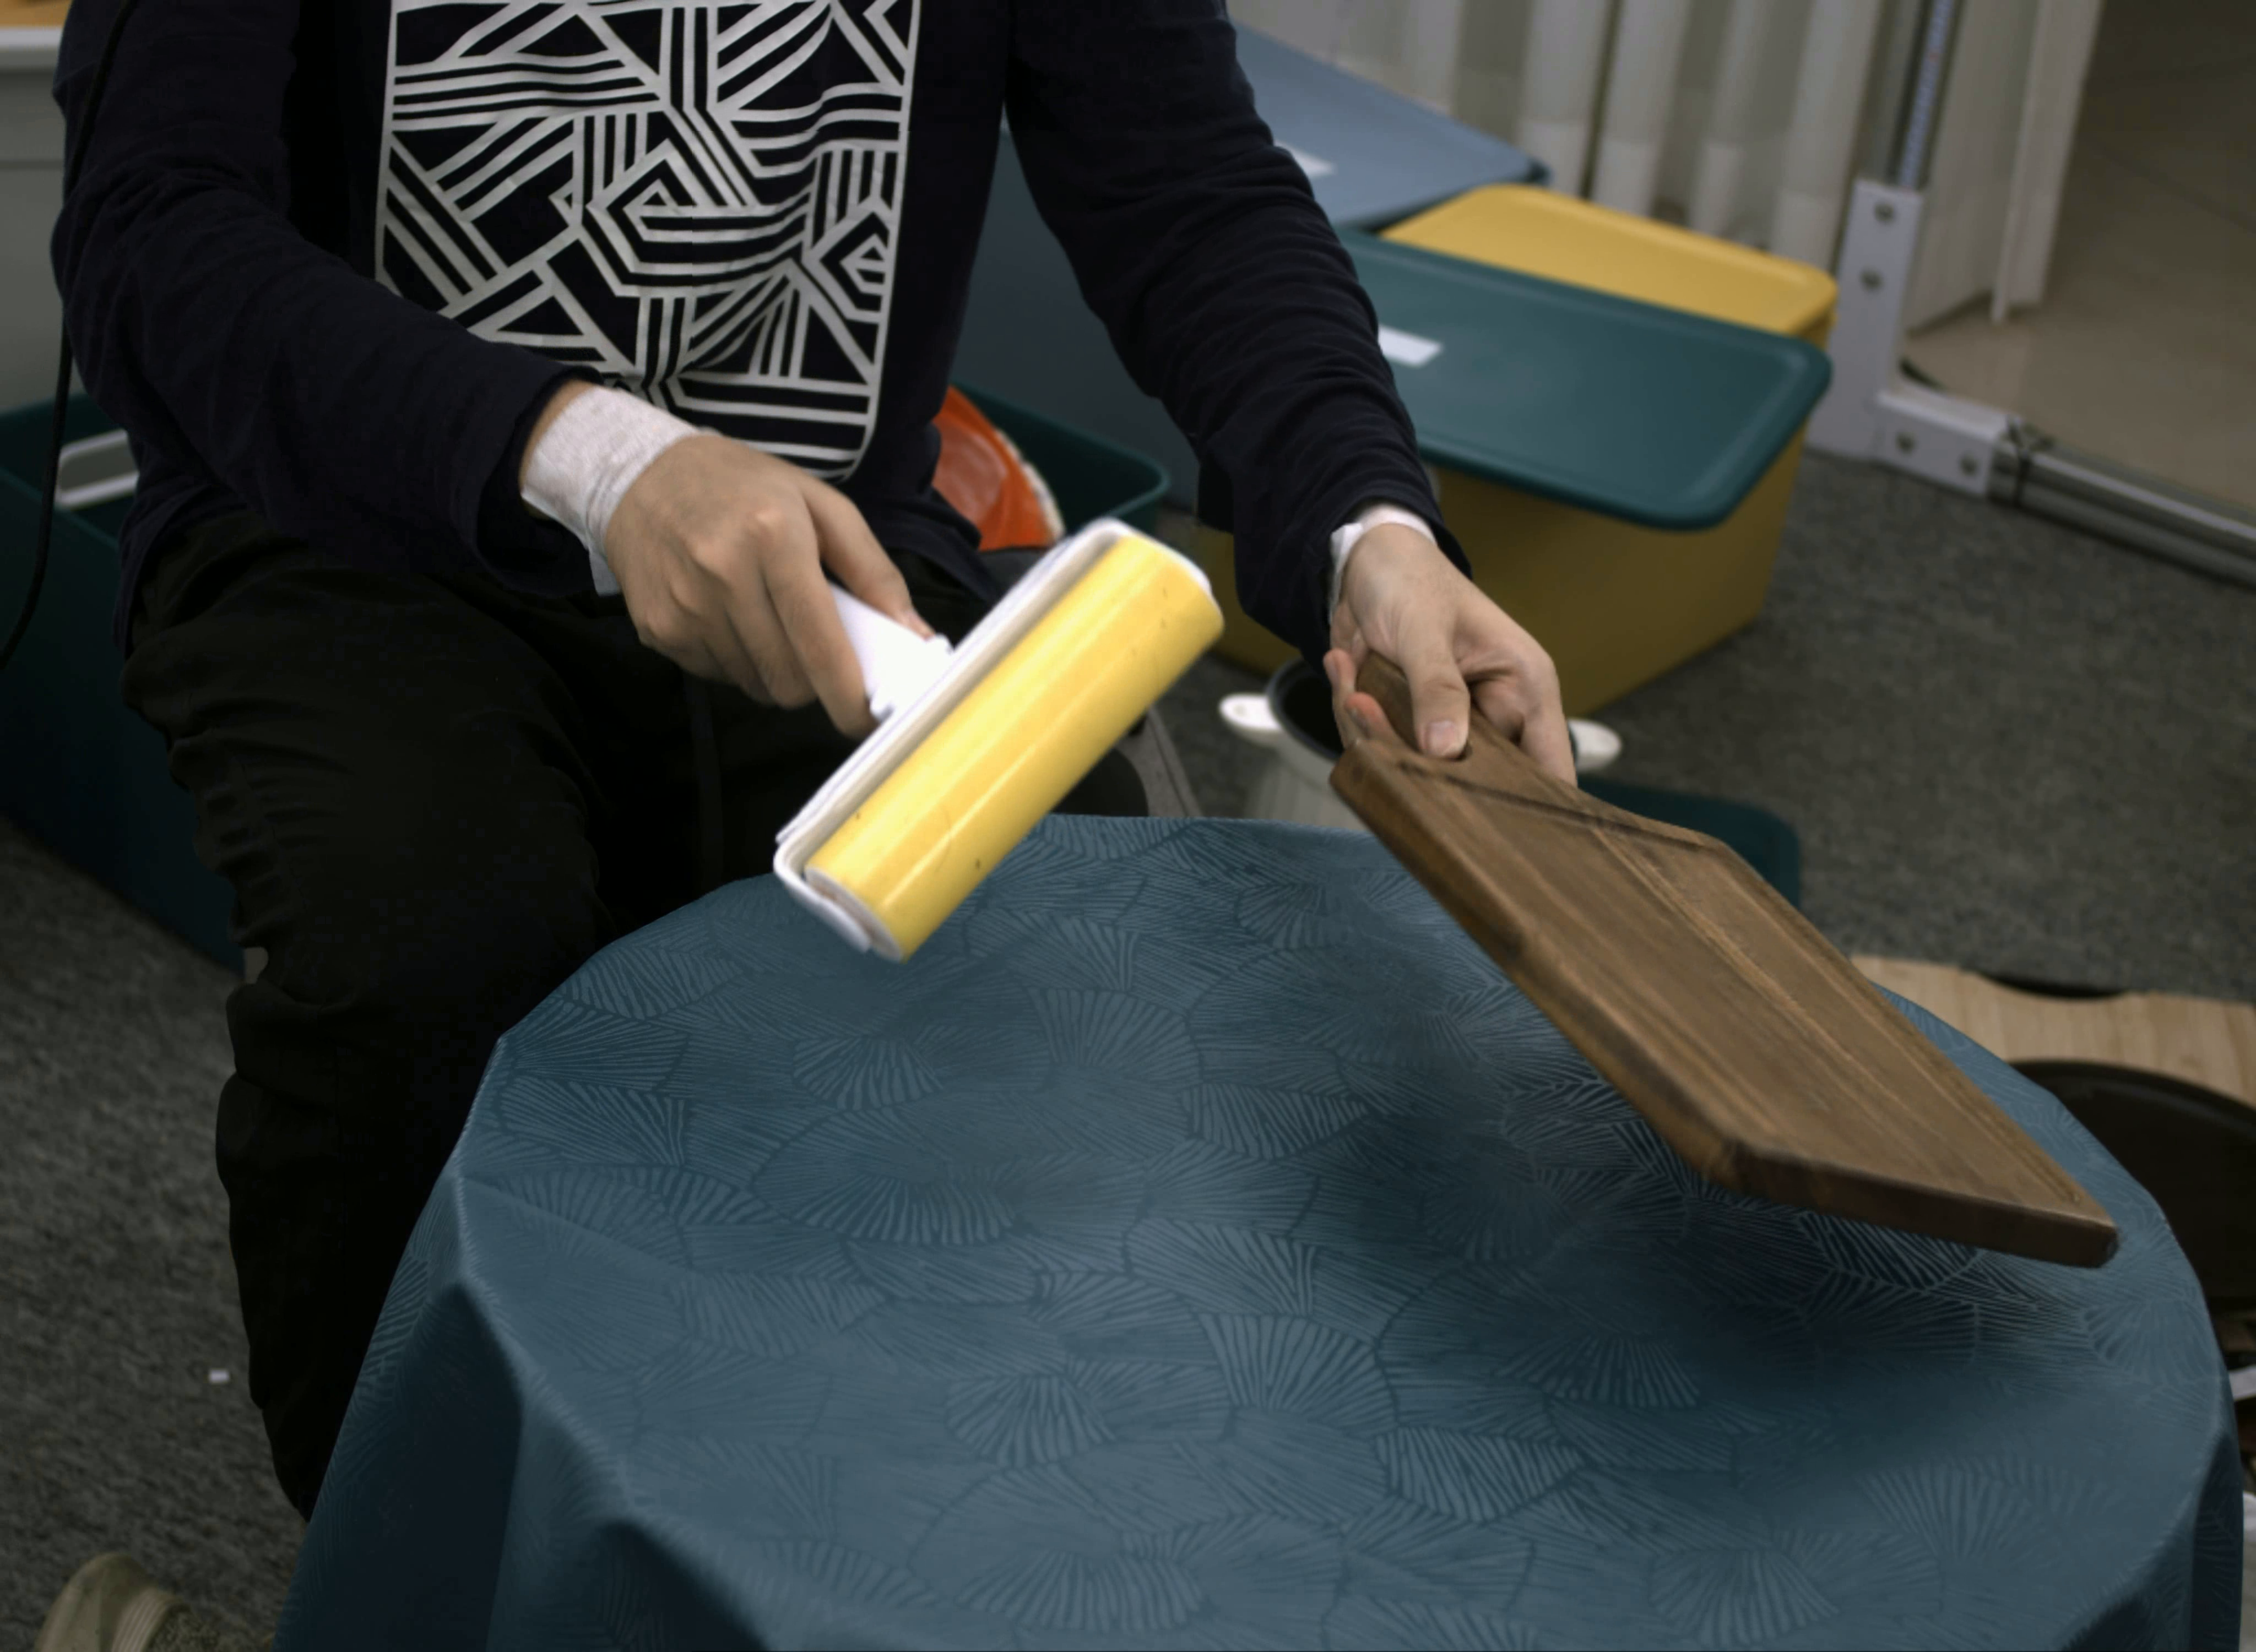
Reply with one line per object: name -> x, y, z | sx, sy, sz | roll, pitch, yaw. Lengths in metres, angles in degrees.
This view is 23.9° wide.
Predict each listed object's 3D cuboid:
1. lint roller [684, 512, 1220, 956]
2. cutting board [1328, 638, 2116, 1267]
lint roller -> -0.089, -0.063, 1.838 | 0.193, 0.051, 0.174 | 33, 74, 30
cutting board -> 0.177, 0.032, 1.846 | 0.199, 0.023, 0.355 | 16, 22, -40
